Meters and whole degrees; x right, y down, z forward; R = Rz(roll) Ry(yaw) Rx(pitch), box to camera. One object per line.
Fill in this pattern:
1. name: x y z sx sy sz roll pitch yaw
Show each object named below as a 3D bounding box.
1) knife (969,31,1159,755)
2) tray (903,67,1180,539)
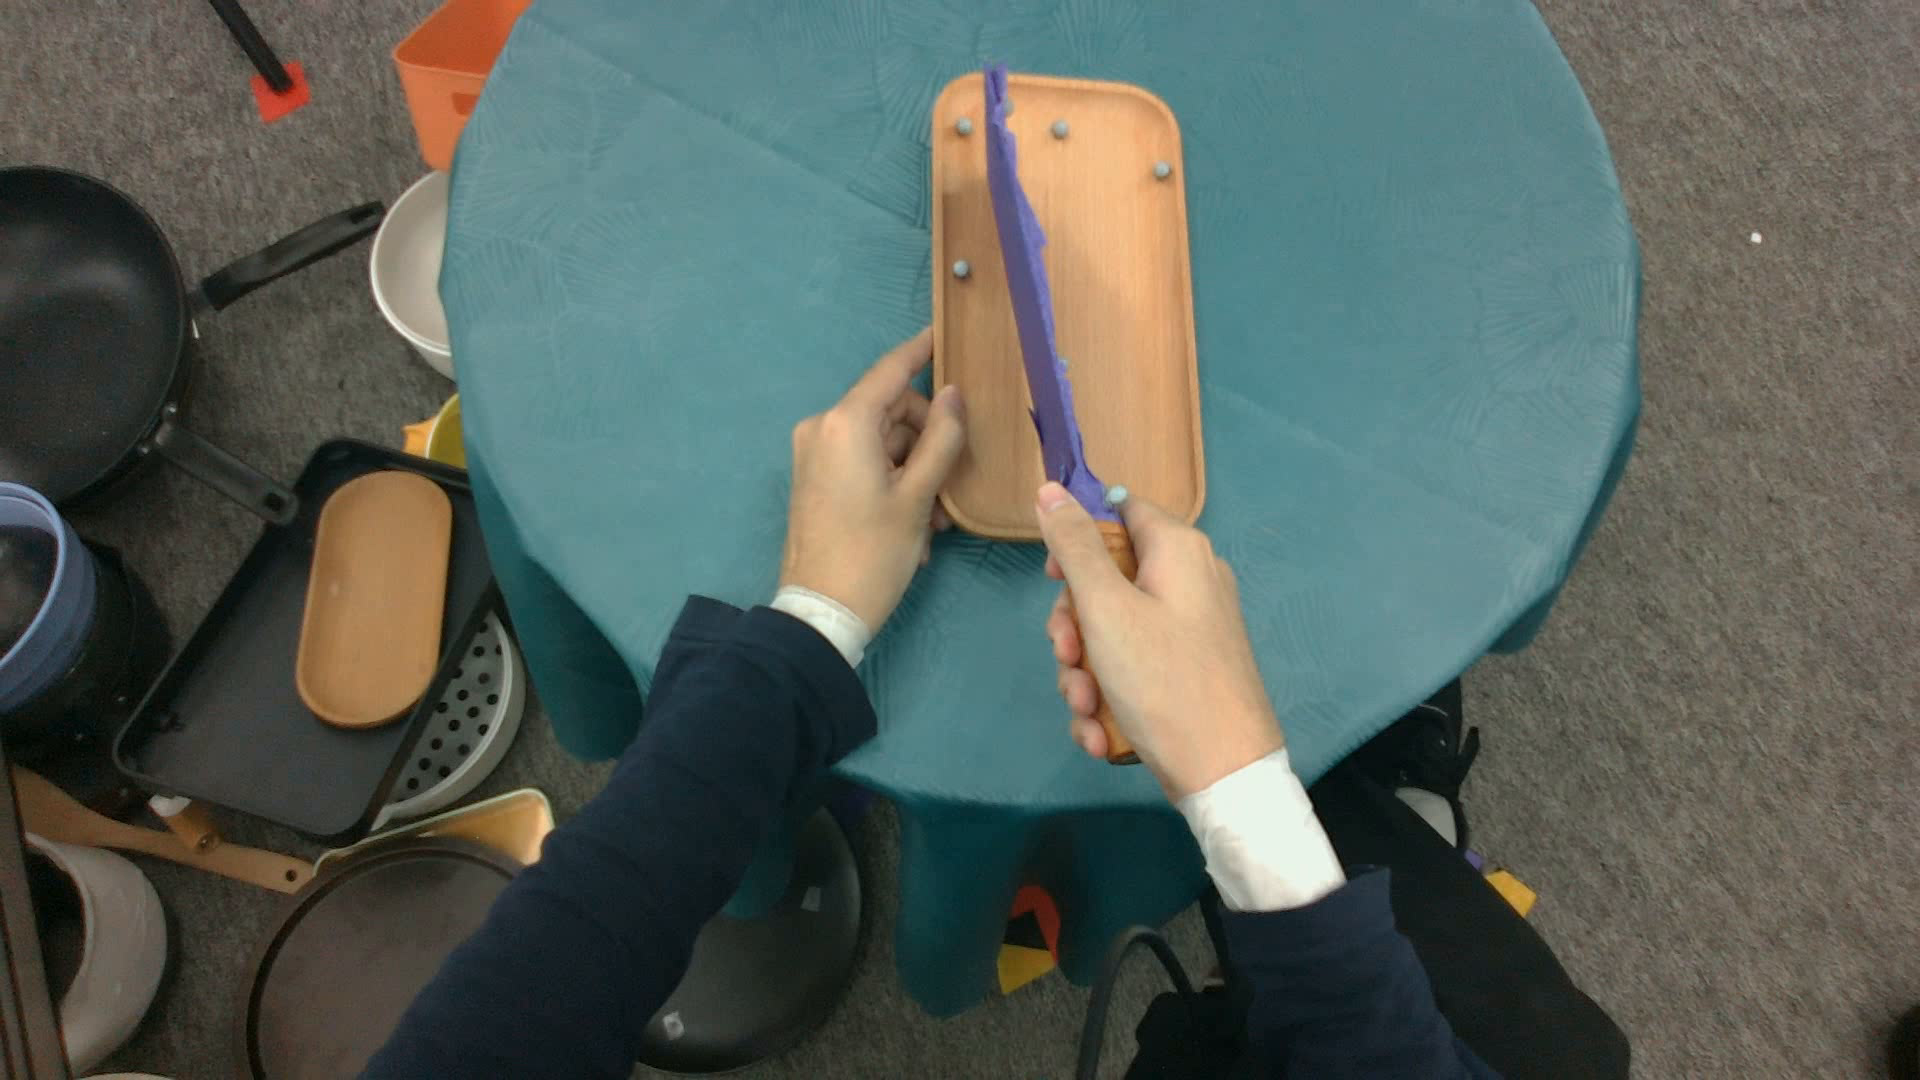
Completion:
1. knife: 0.037 -0.059 0.587 0.032 0.103 0.316 -7 70 -3
2. tray: 0.040 -0.119 0.667 0.130 0.023 0.251 4 69 -5
